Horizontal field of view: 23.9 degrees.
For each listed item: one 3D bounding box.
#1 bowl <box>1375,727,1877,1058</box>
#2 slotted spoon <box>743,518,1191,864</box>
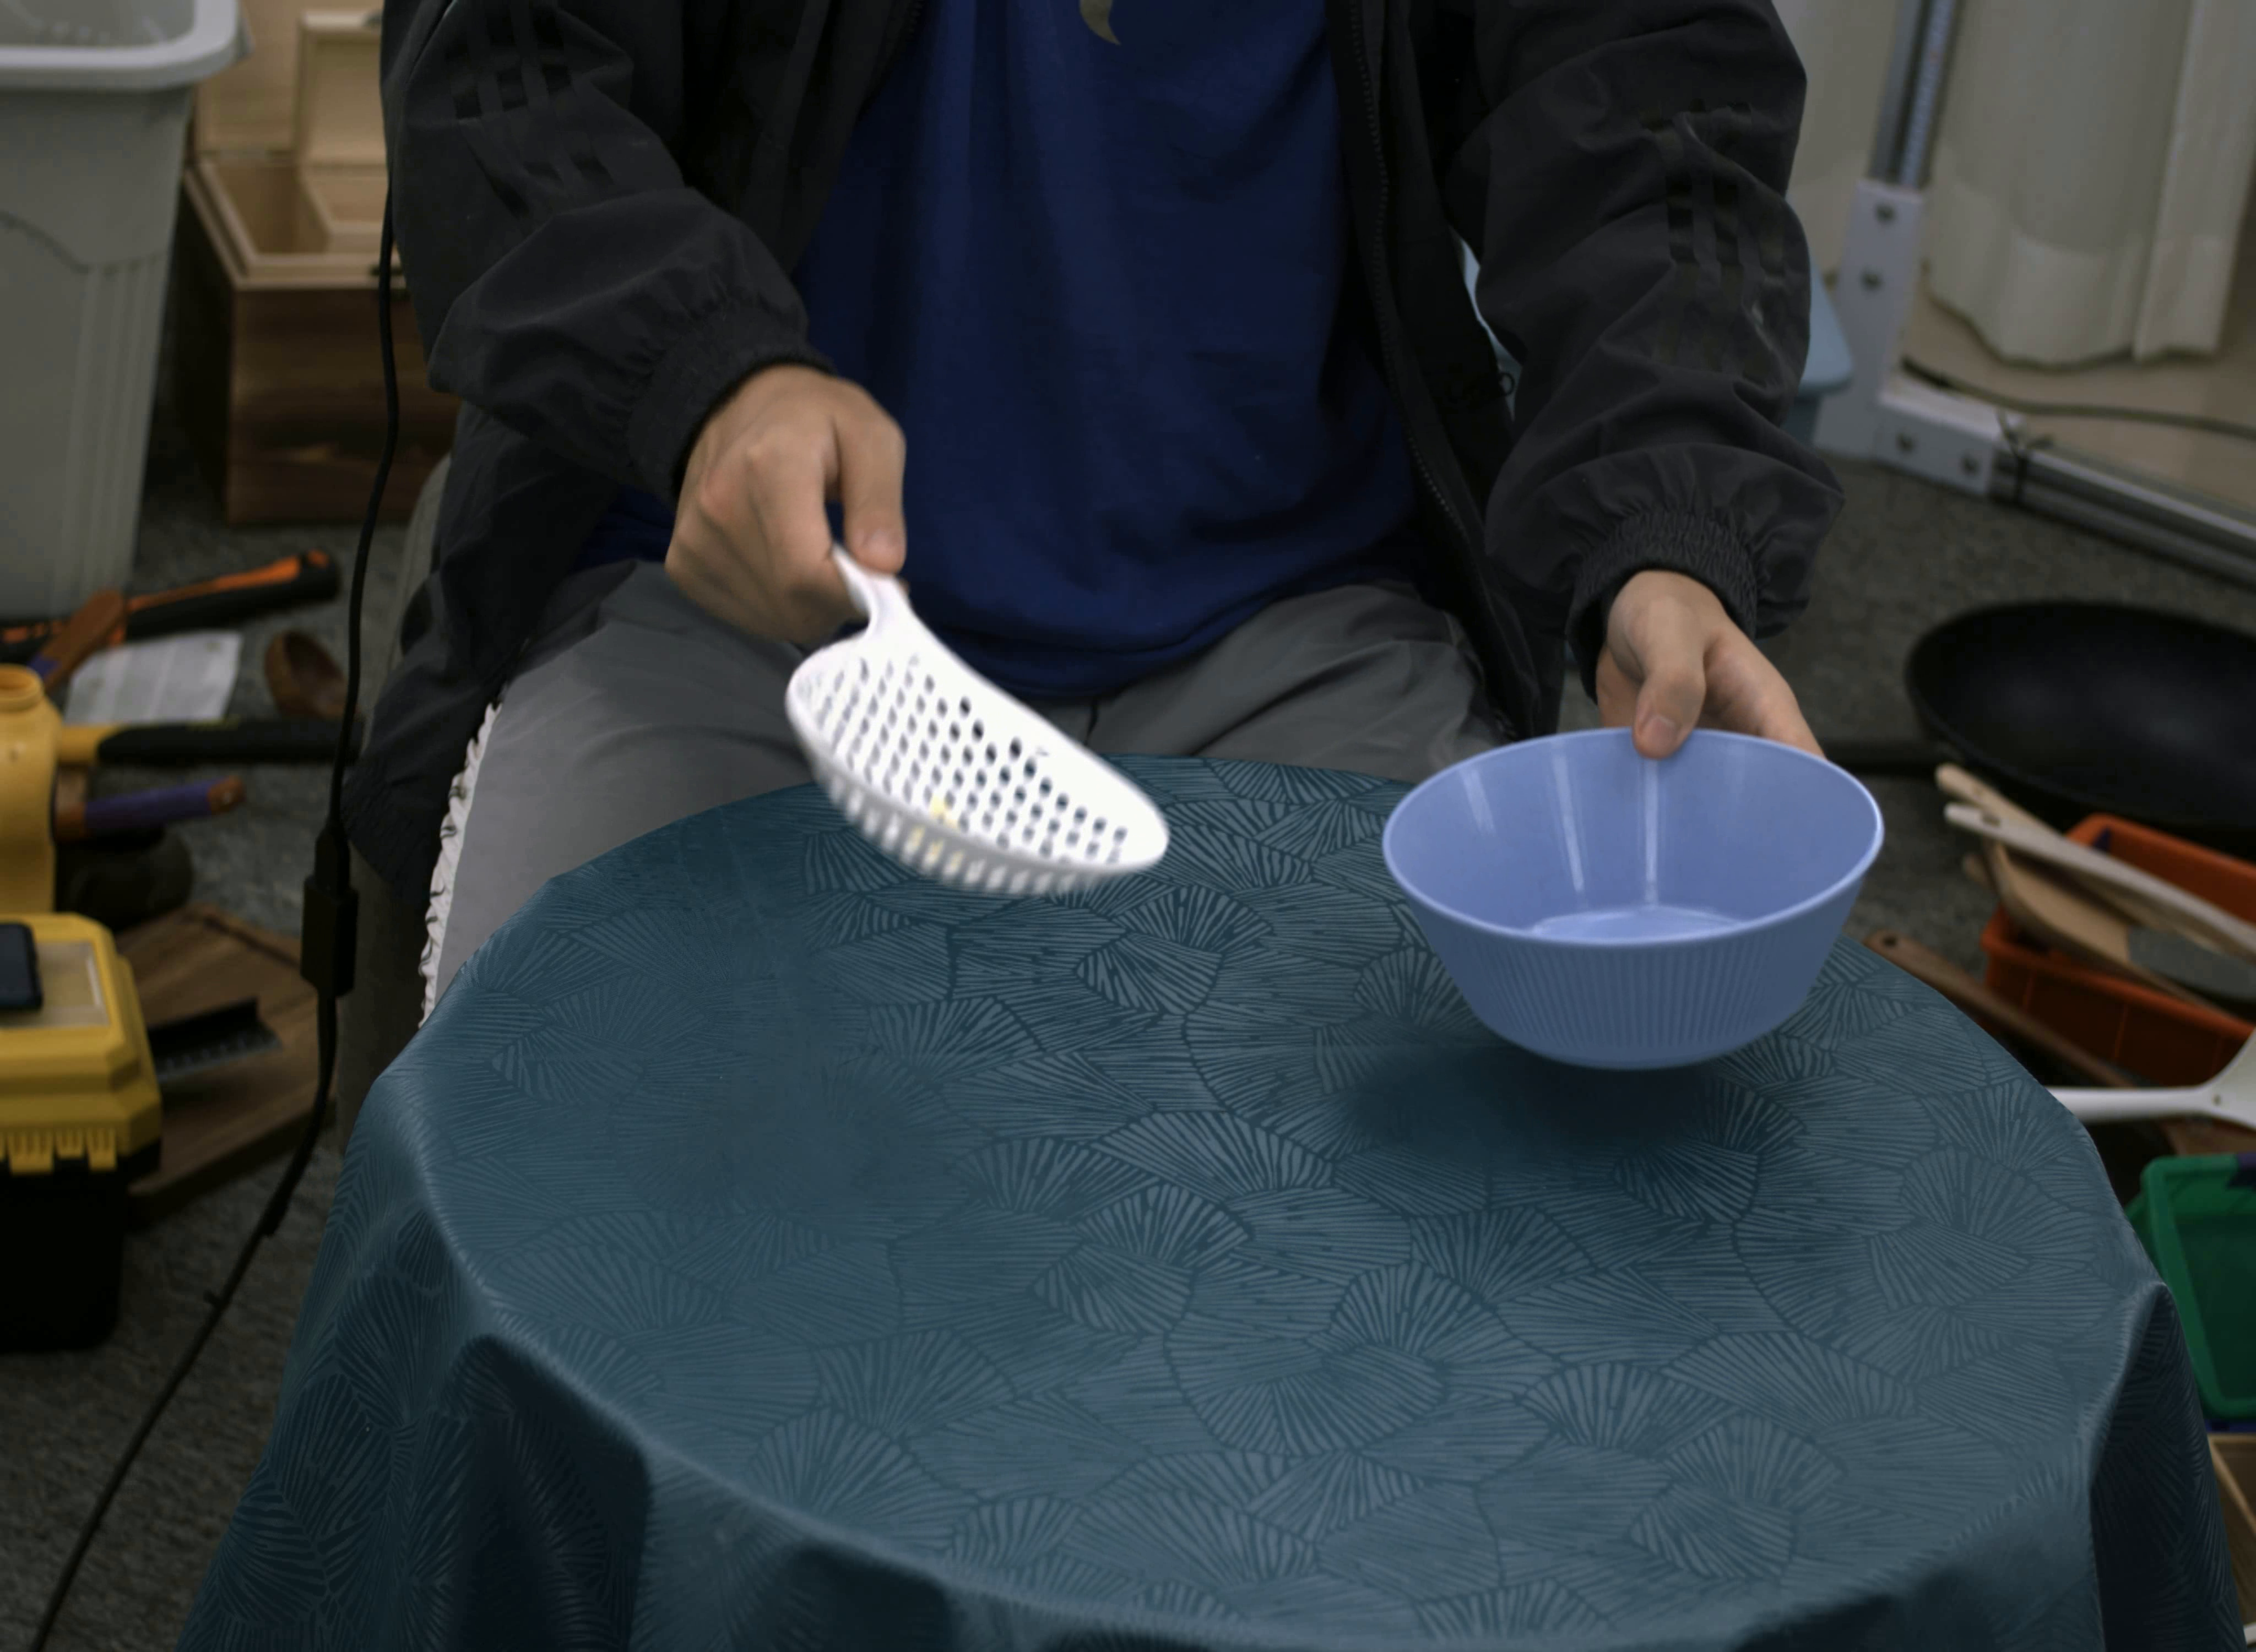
[{"bbox_3d":[0.176,0.028,1.877,0.175,0.070,0.177,-4,24,2],"label":"bowl"},{"bbox_3d":[-0.080,-0.059,1.865,0.136,0.050,0.351,14,20,-22],"label":"slotted spoon"}]
